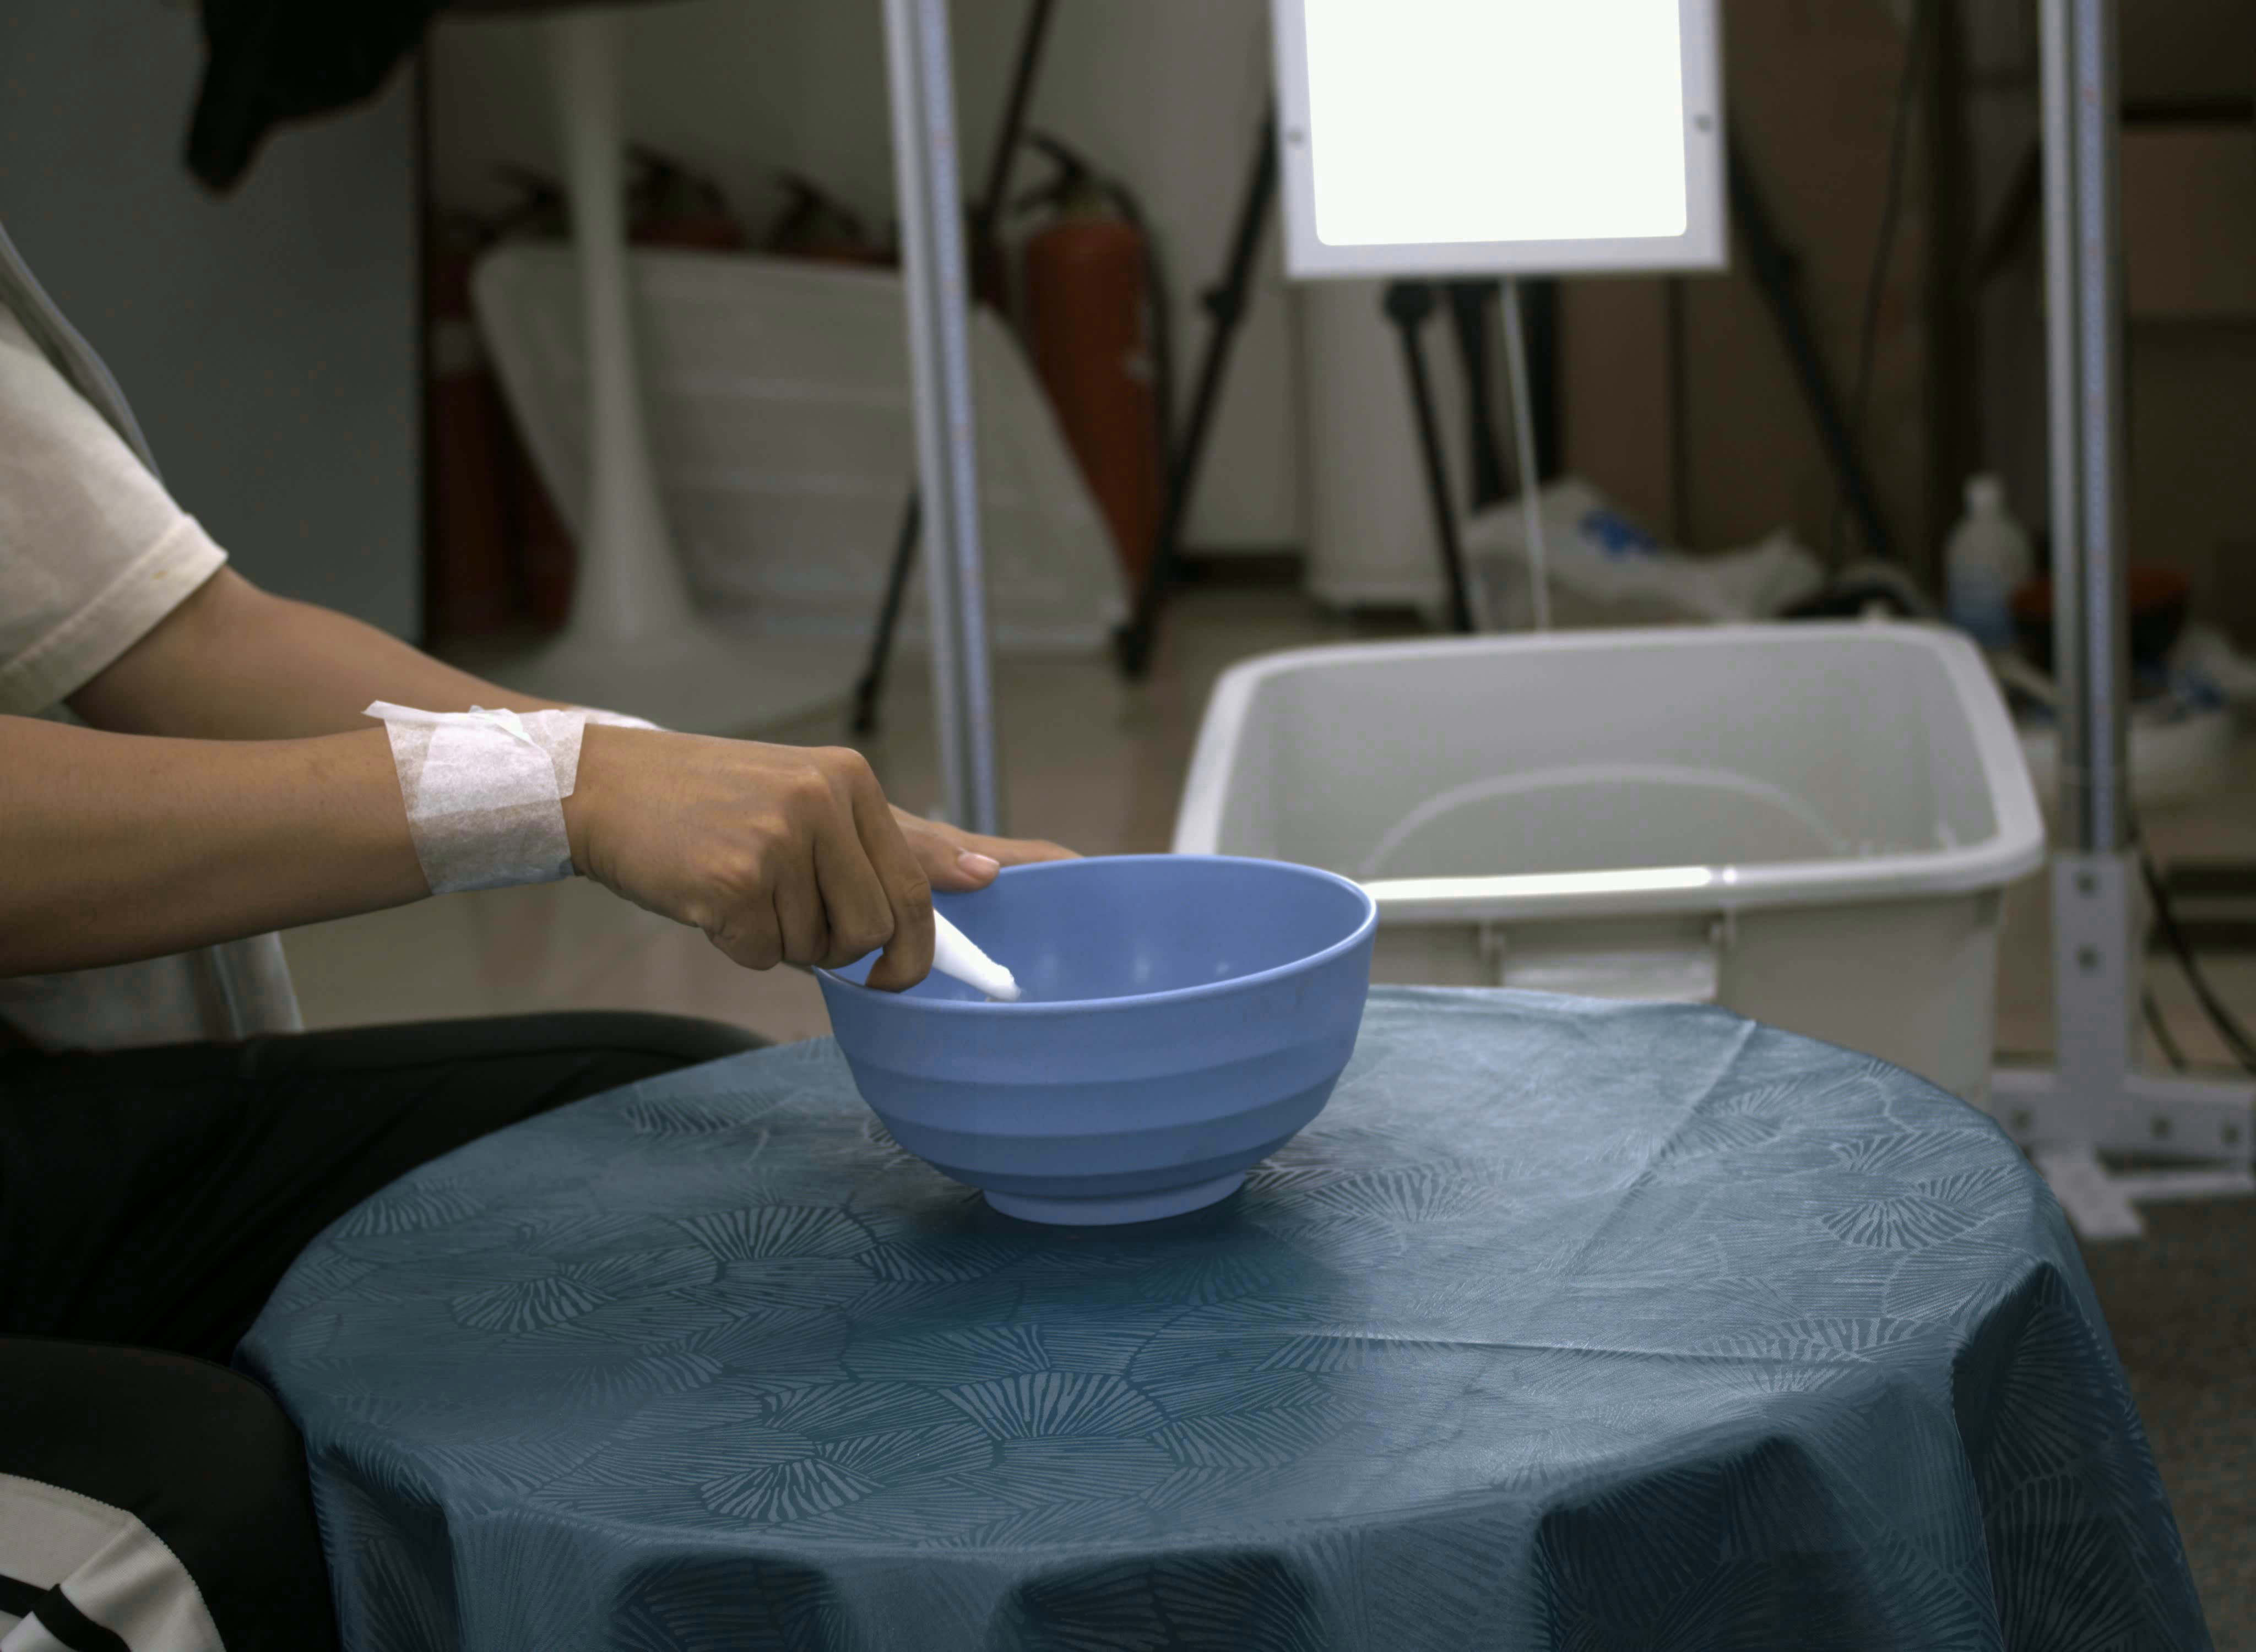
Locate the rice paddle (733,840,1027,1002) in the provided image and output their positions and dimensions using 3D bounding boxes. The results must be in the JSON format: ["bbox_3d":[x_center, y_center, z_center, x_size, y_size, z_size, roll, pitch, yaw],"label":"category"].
[{"bbox_3d":[-0.039,0.059,1.865,0.202,0.029,0.069,26,9,-20],"label":"rice paddle"}]

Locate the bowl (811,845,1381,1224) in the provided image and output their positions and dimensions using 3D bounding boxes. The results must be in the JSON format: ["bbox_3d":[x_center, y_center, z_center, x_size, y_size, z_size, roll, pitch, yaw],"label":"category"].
[{"bbox_3d":[-0.009,0.077,1.895,0.196,0.096,0.196,-4,15,0],"label":"bowl"}]
